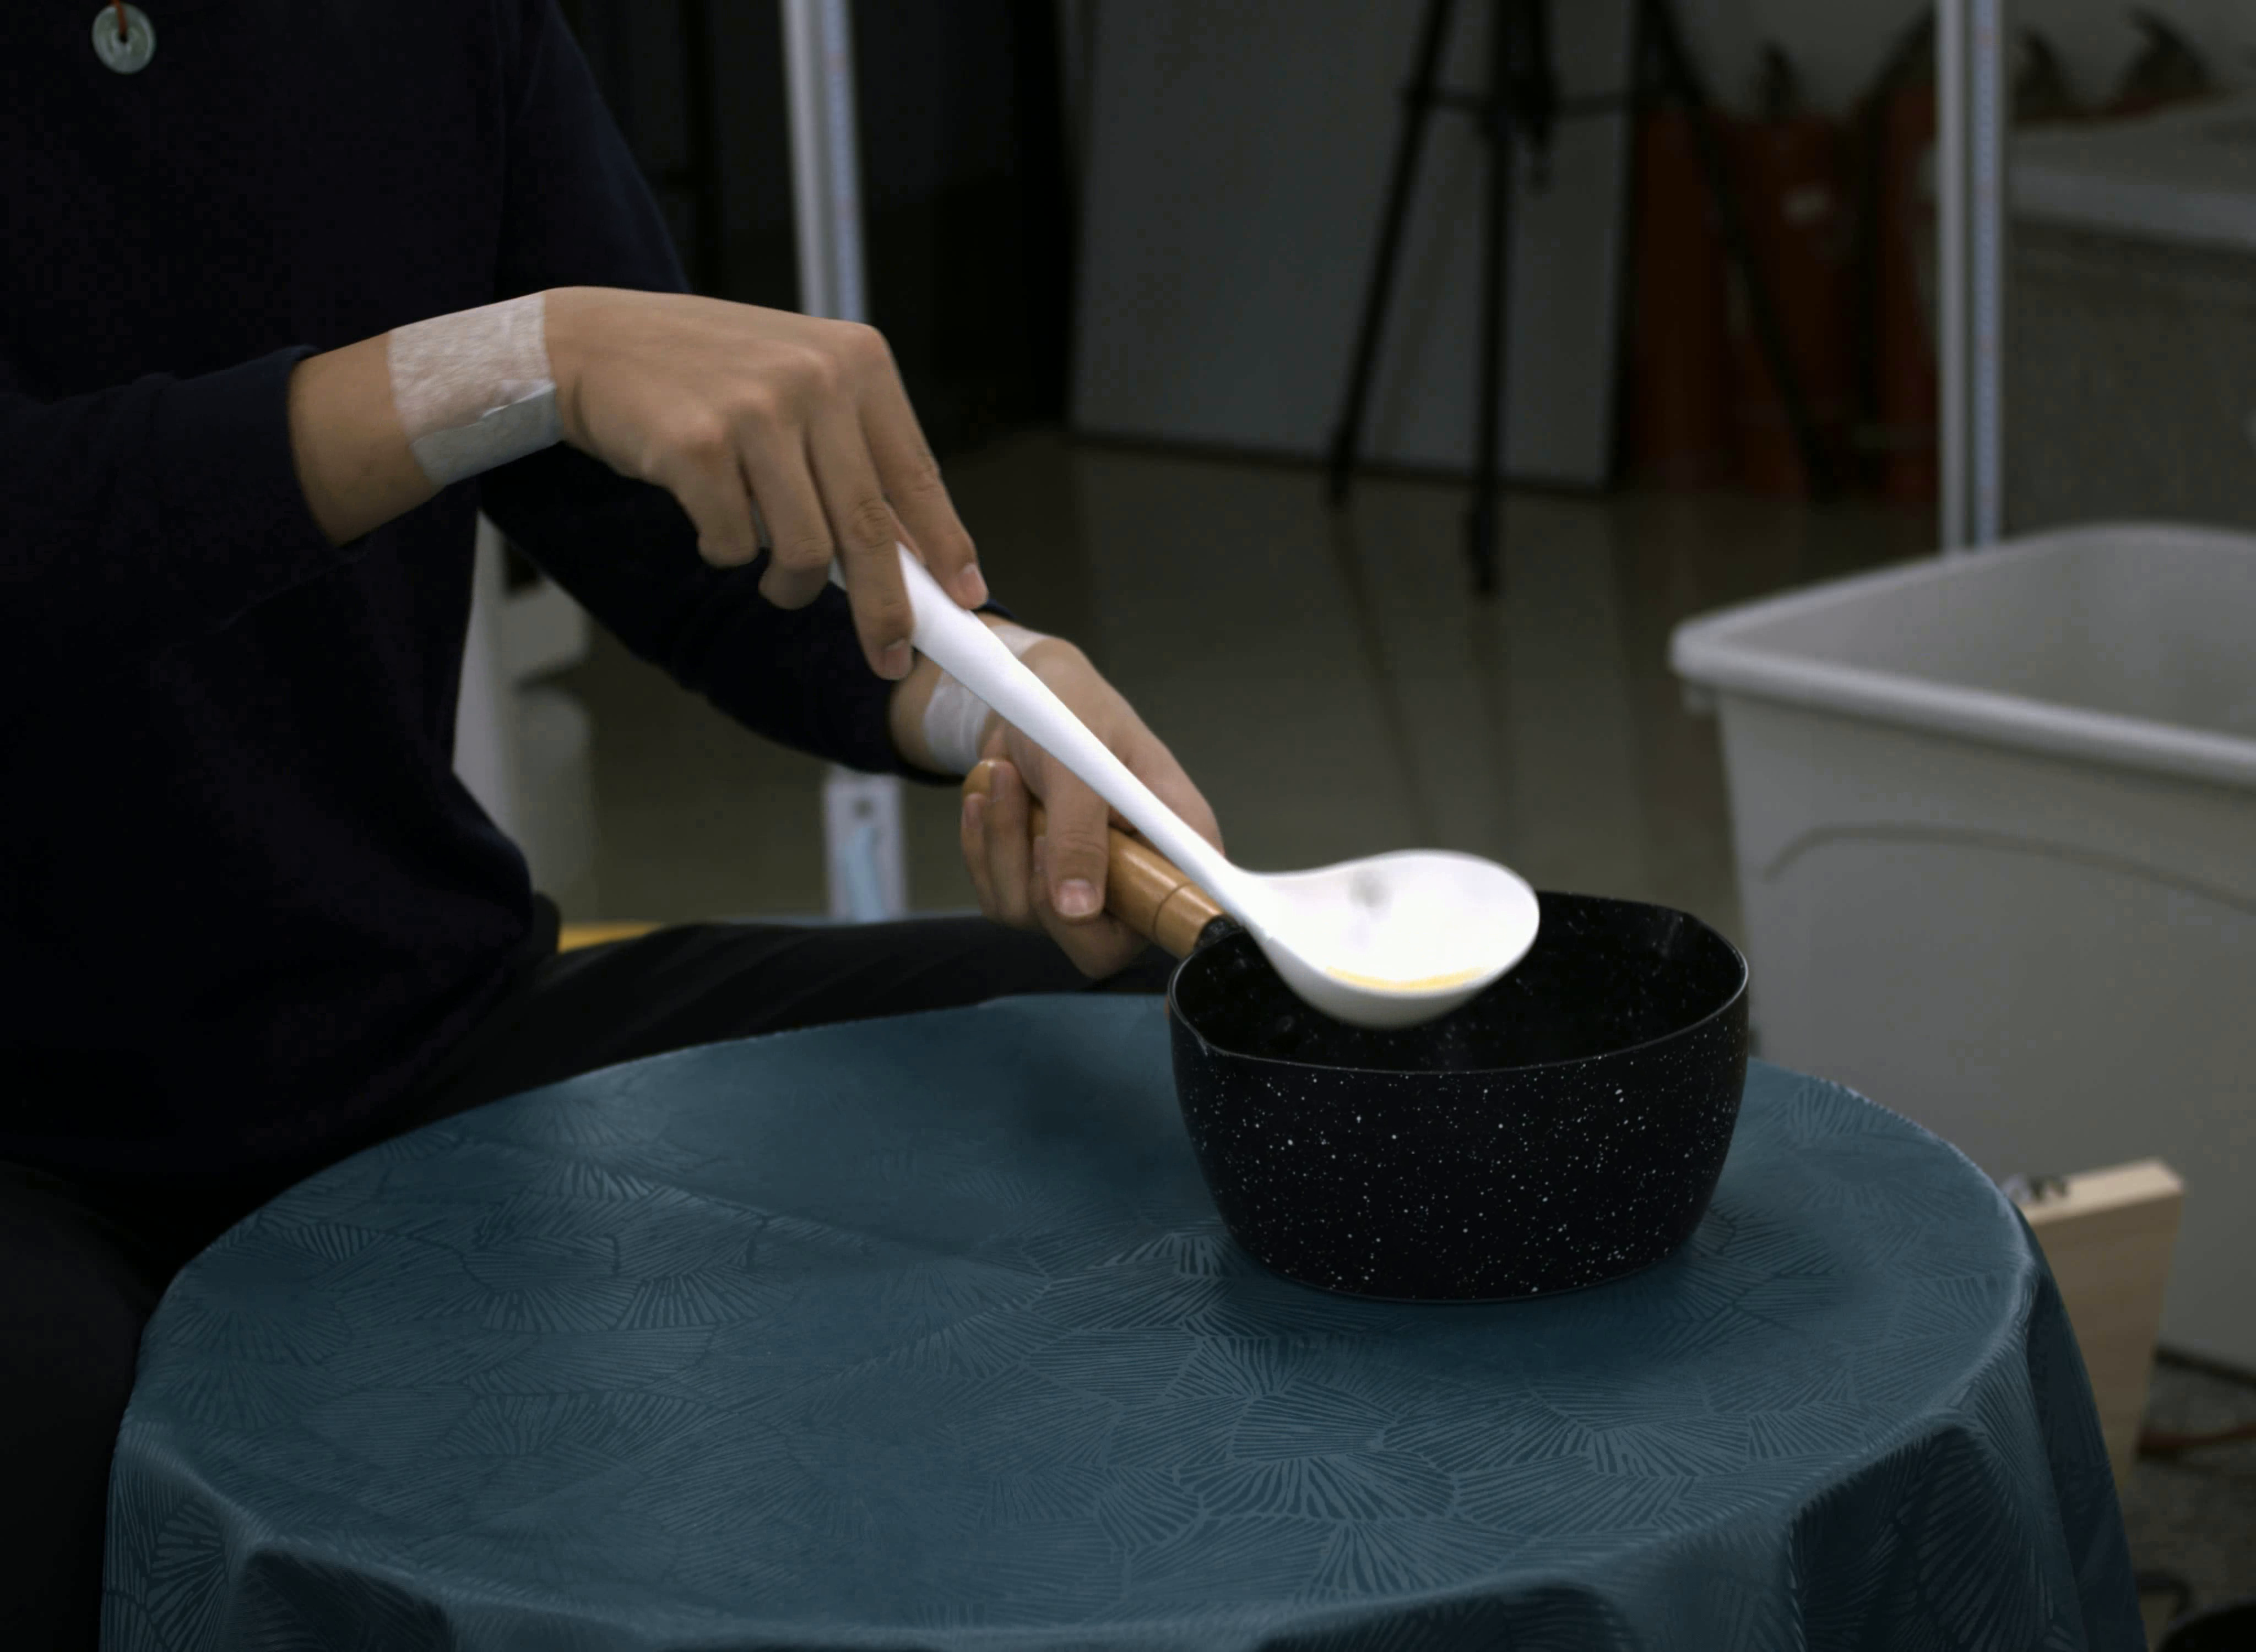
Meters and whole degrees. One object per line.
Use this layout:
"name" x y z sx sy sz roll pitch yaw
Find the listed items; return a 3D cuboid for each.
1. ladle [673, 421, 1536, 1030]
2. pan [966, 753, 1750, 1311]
"ladle" -0.009 -0.036 1.667 0.292 0.070 0.089 38 43 -1
"pan" 0.055 0.060 1.756 0.203 0.109 0.346 -16 21 -36
